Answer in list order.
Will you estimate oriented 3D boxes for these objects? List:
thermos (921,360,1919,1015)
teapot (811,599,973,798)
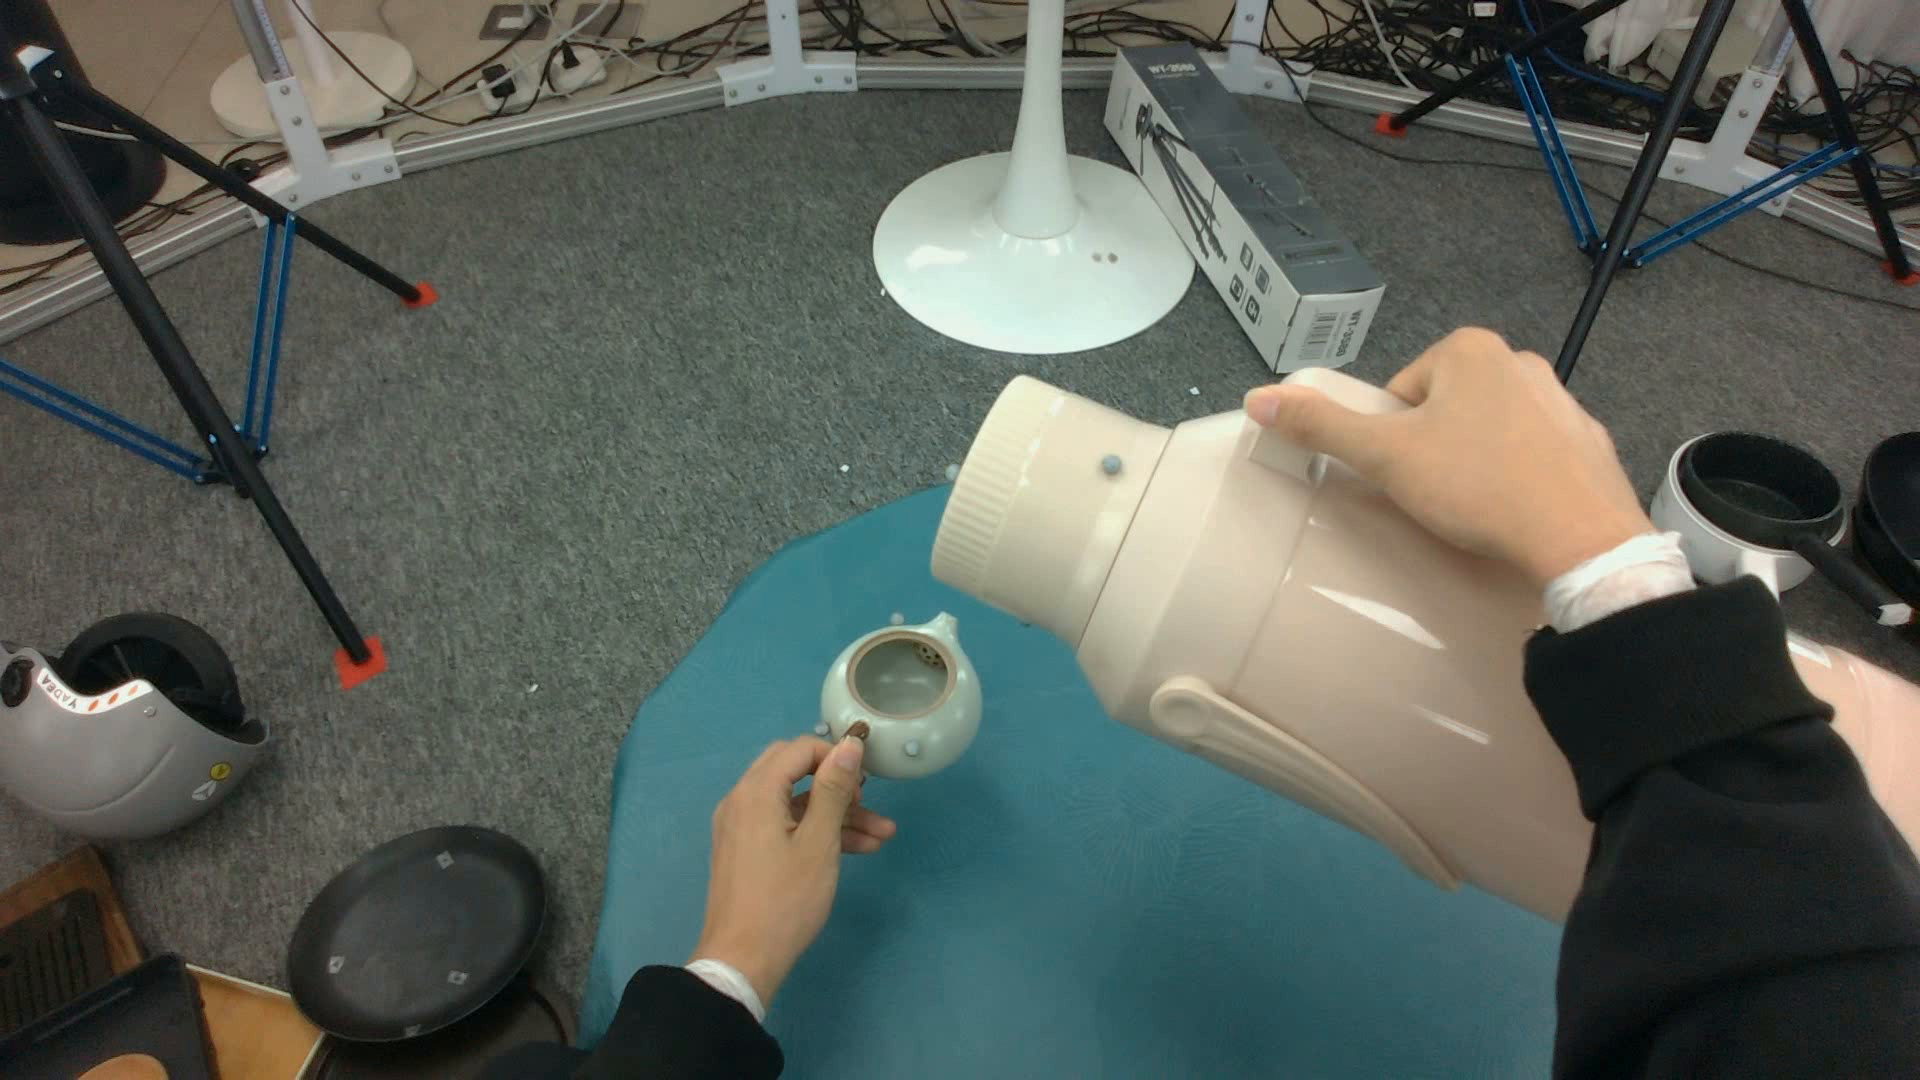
[{"bbox_3d":[0.188,0.039,0.607,0.406,0.206,0.176,26,42,7],"label":"thermos"},{"bbox_3d":[-0.043,0.092,0.773,0.092,0.059,0.129,25,52,16],"label":"teapot"}]
